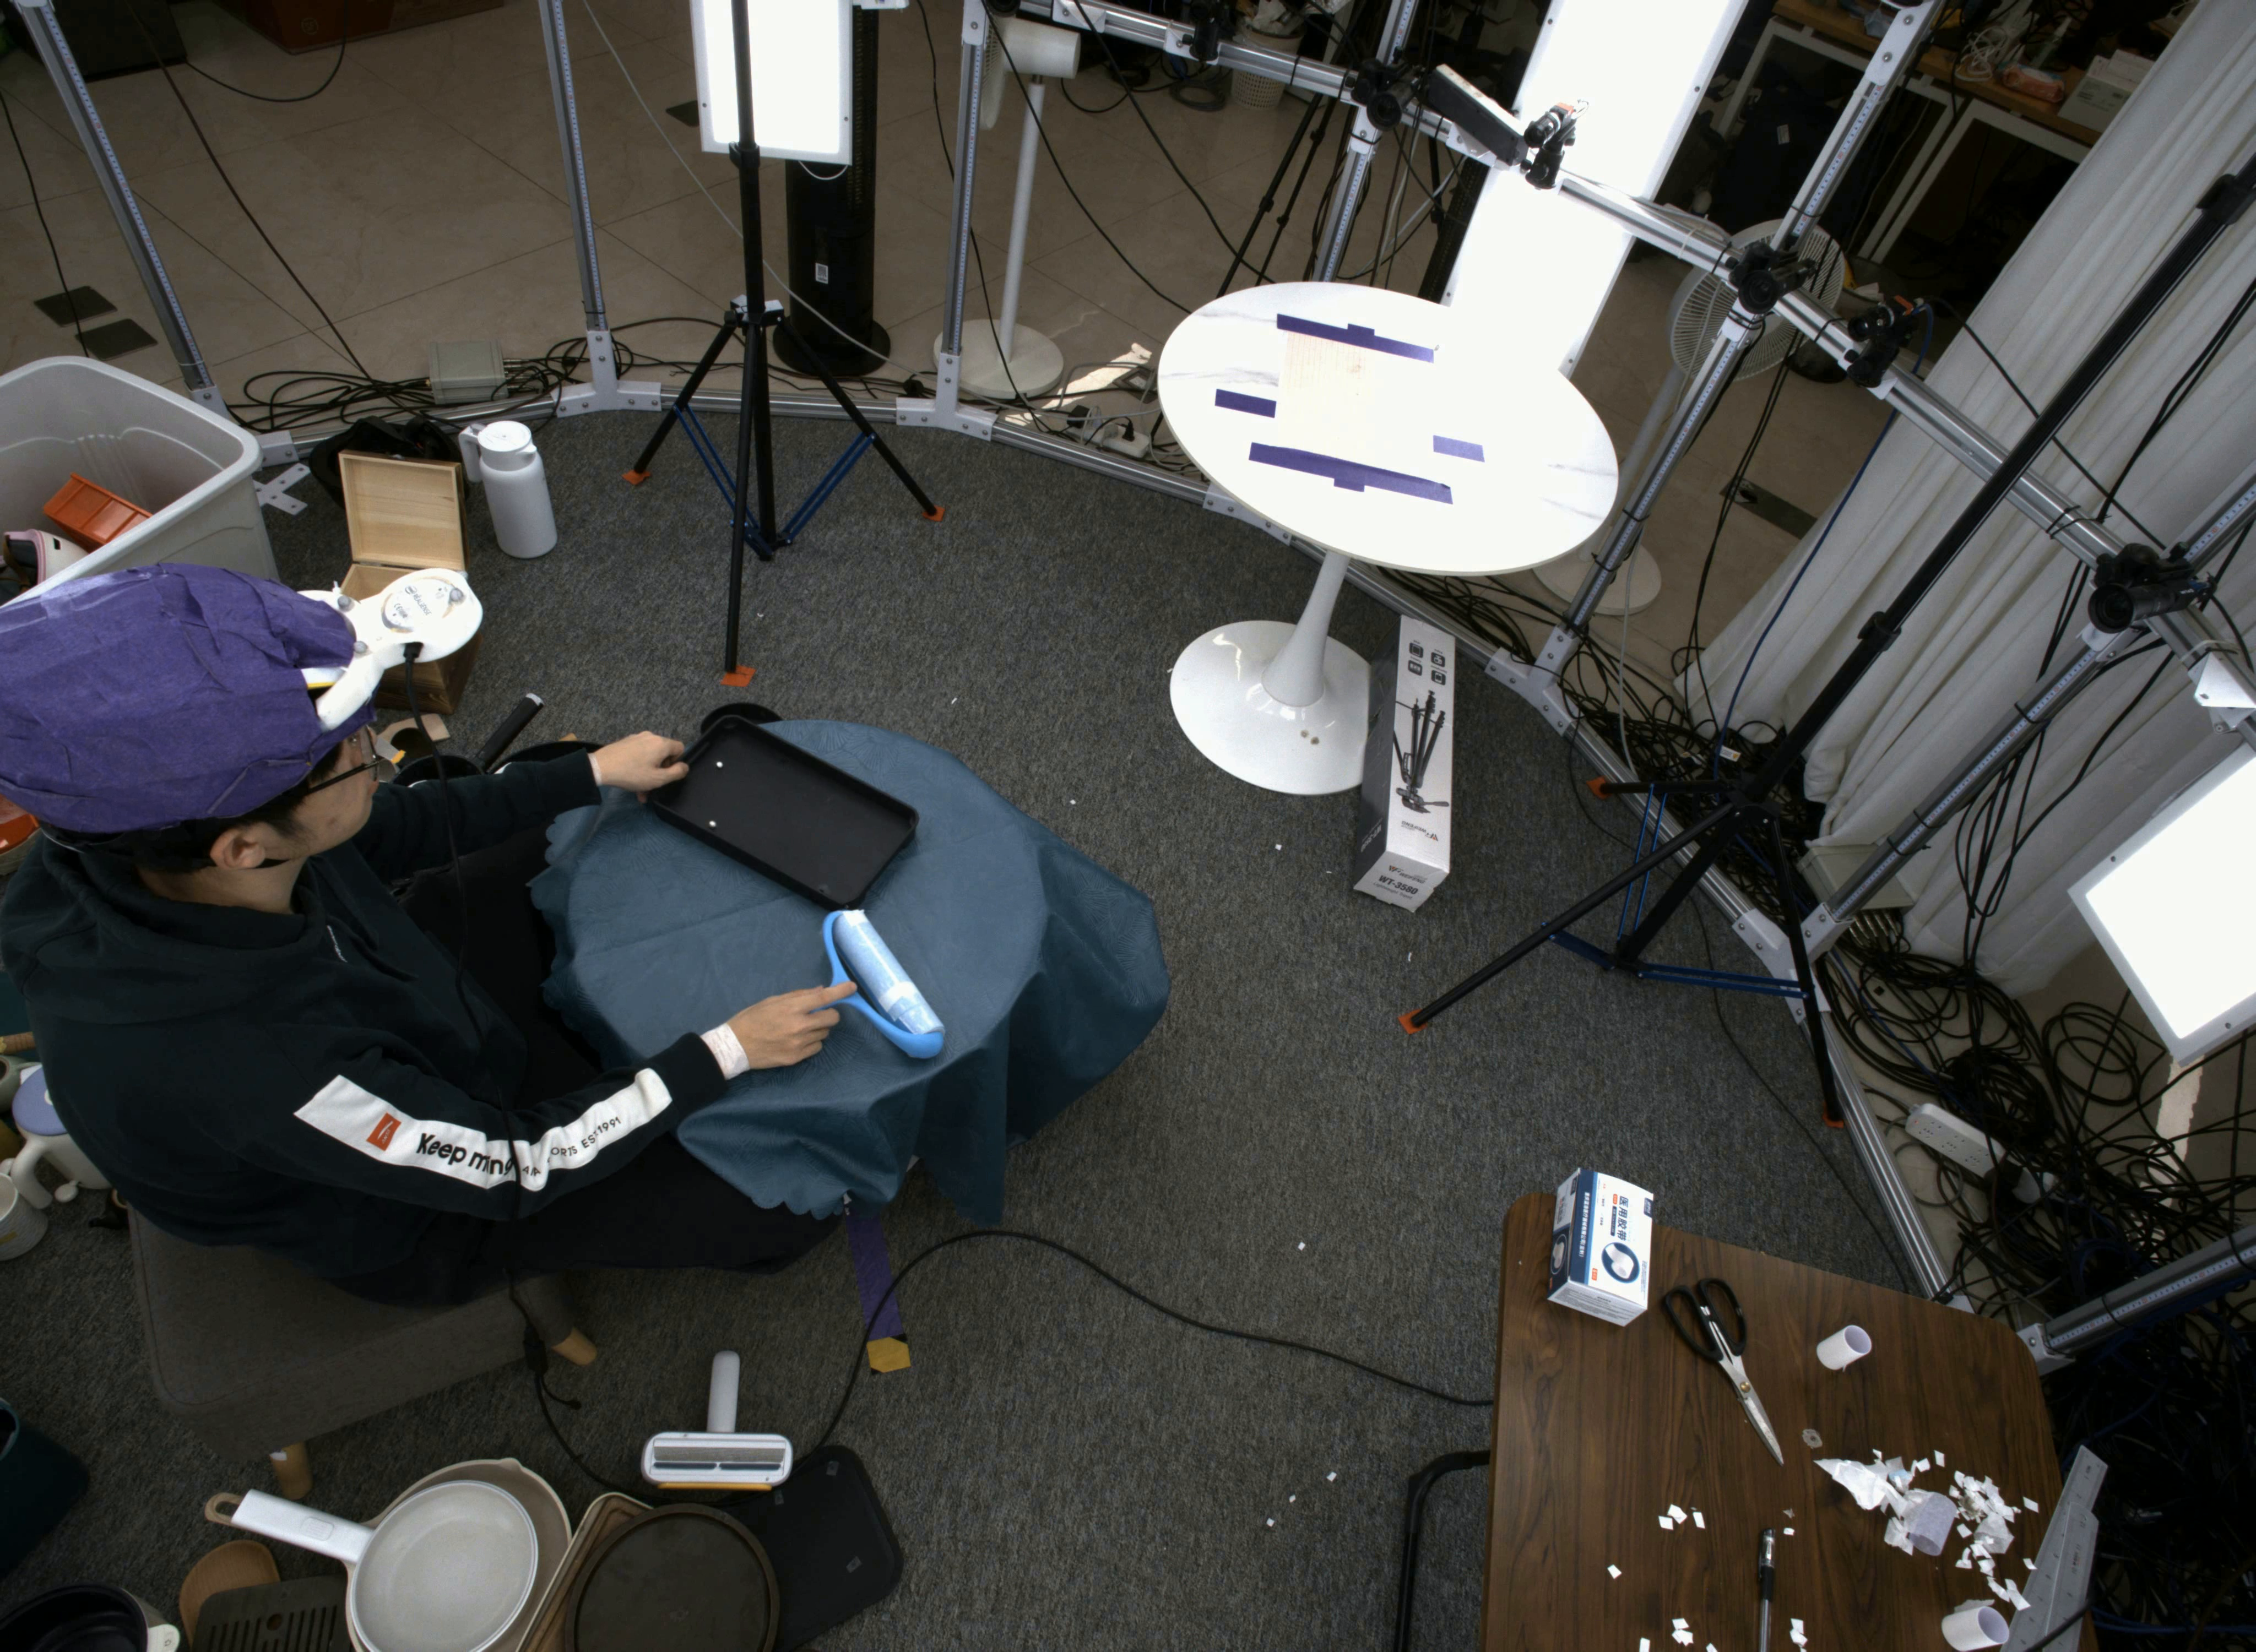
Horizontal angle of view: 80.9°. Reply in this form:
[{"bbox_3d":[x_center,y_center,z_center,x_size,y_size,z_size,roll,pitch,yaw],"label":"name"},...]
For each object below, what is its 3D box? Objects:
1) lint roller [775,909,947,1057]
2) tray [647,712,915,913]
[{"bbox_3d":[-0.341,0.211,1.558,0.181,0.069,0.224,-29,68,-32],"label":"lint roller"},{"bbox_3d":[-0.458,-0.021,1.714,0.314,0.037,0.183,27,53,4],"label":"tray"}]
